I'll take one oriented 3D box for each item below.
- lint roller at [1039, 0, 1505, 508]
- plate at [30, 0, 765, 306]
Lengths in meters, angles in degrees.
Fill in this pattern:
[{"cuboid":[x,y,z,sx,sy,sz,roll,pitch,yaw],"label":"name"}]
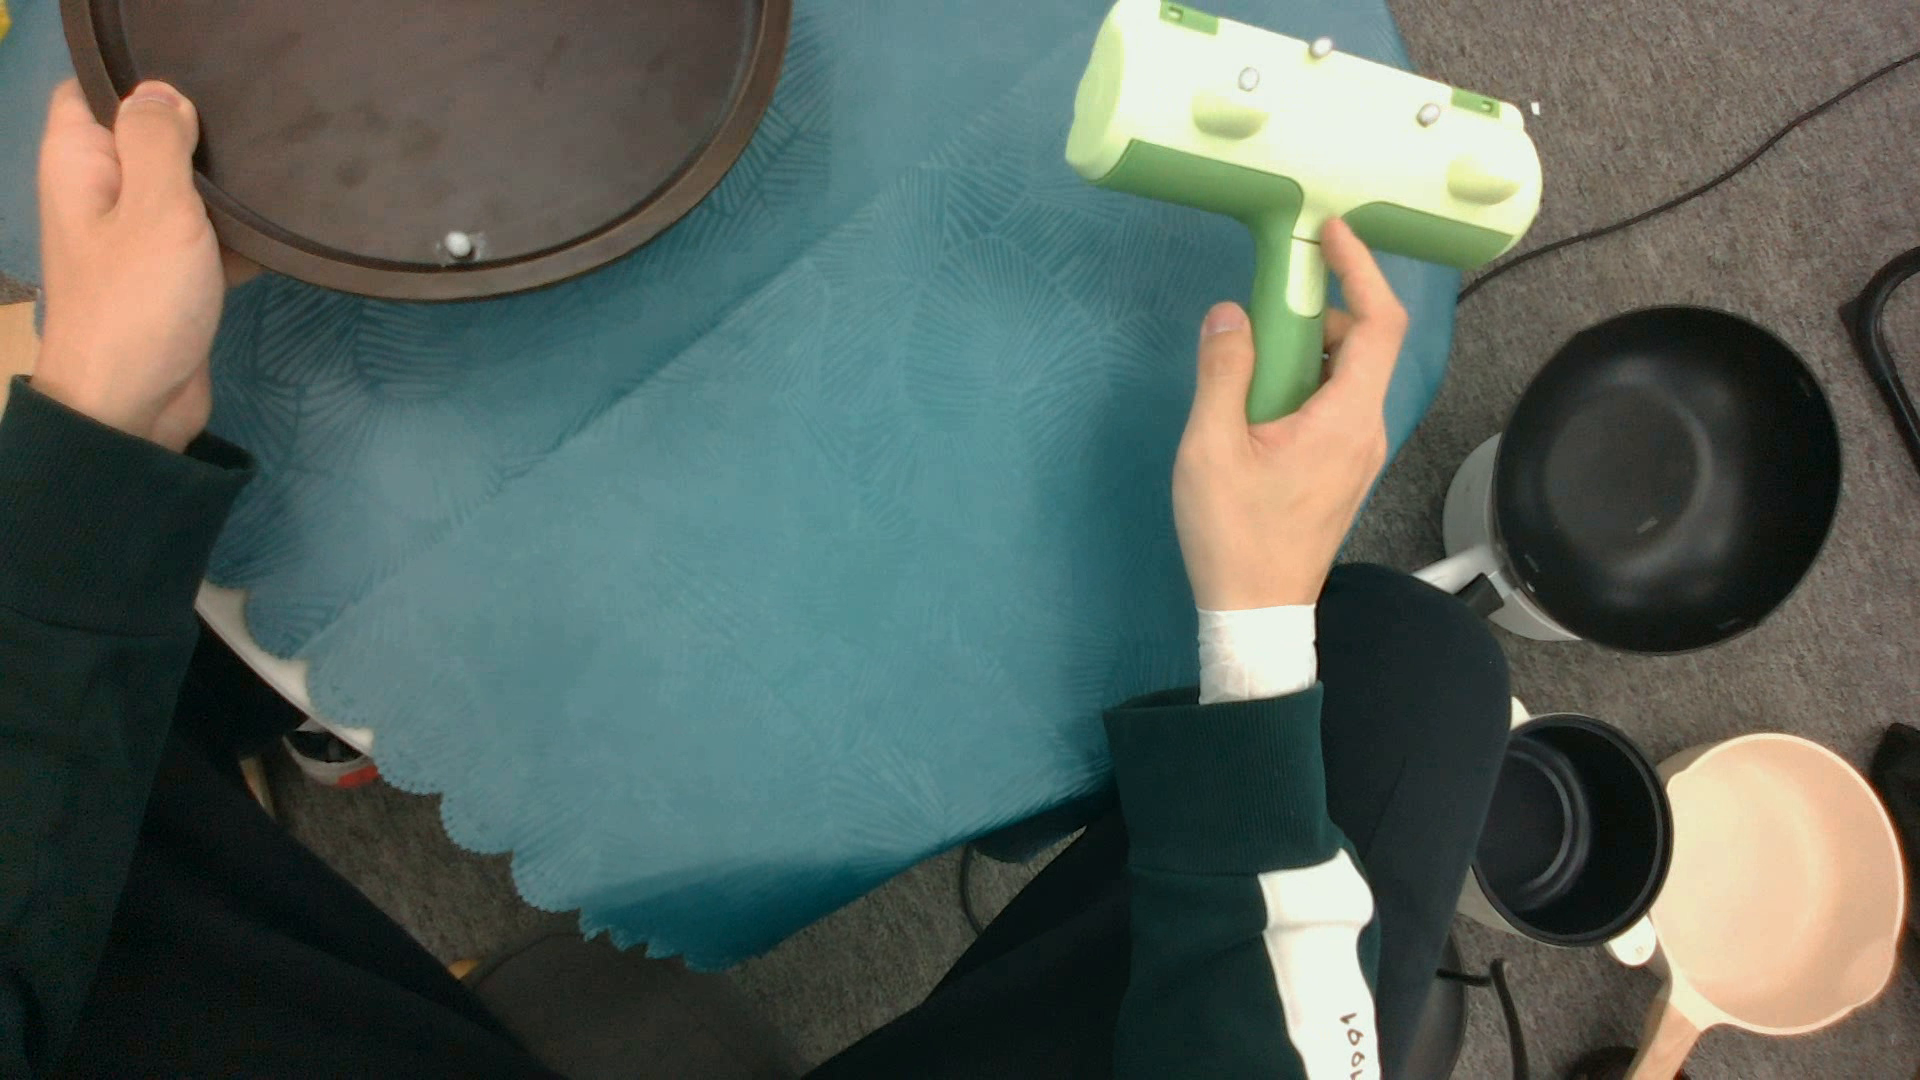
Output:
[{"cuboid":[0.128,-0.106,0.539,0.199,0.082,0.183,6,83,-22],"label":"lint roller"},{"cuboid":[-0.199,-0.205,0.505,0.255,0.029,0.255,2,79,-10],"label":"plate"}]
